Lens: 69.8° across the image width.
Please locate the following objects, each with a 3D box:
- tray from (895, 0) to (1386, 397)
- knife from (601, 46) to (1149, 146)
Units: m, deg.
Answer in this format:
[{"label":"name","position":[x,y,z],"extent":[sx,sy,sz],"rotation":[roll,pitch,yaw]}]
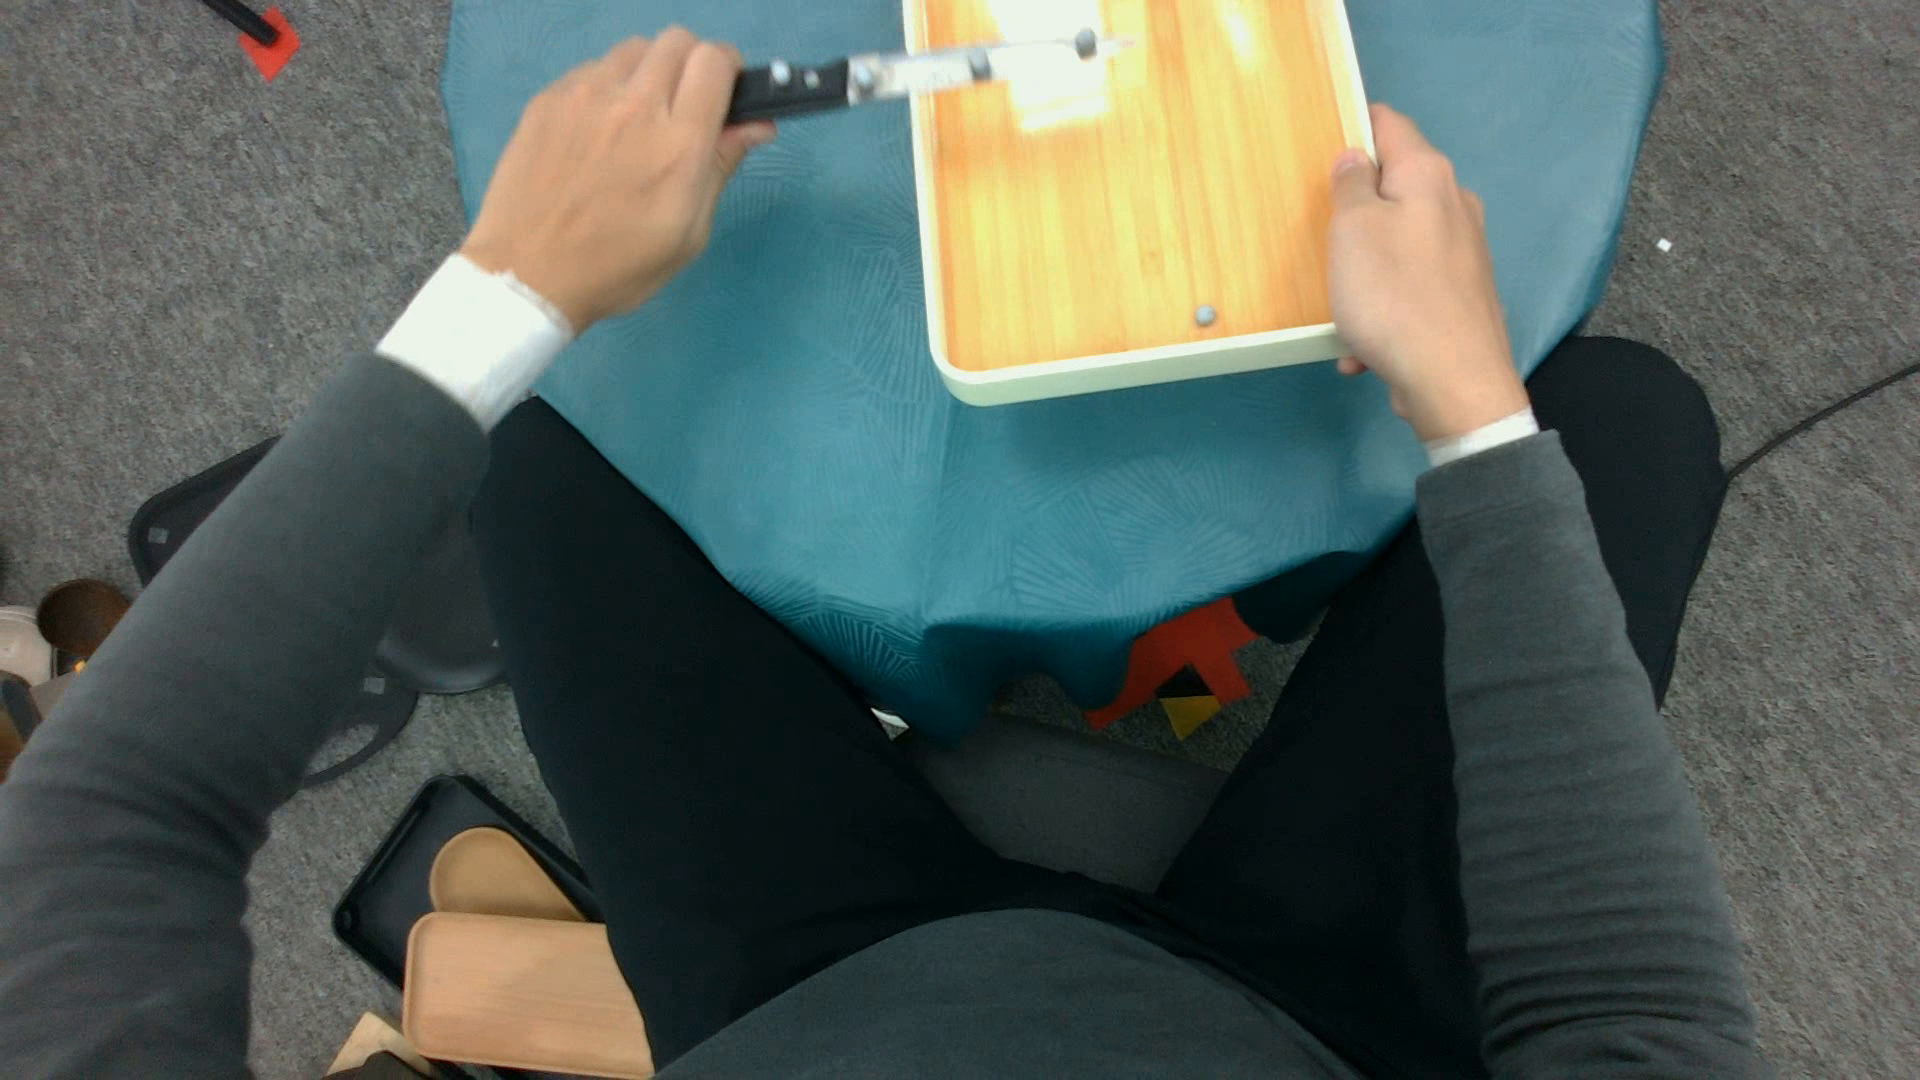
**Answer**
[{"label":"tray","position":[0.069,-0.211,0.617],"extent":[0.191,0.027,0.301],"rotation":[-7,67,7]},{"label":"knife","position":[-0.040,-0.186,0.576],"extent":[0.238,0.016,0.024],"rotation":[-3,66,12]}]
